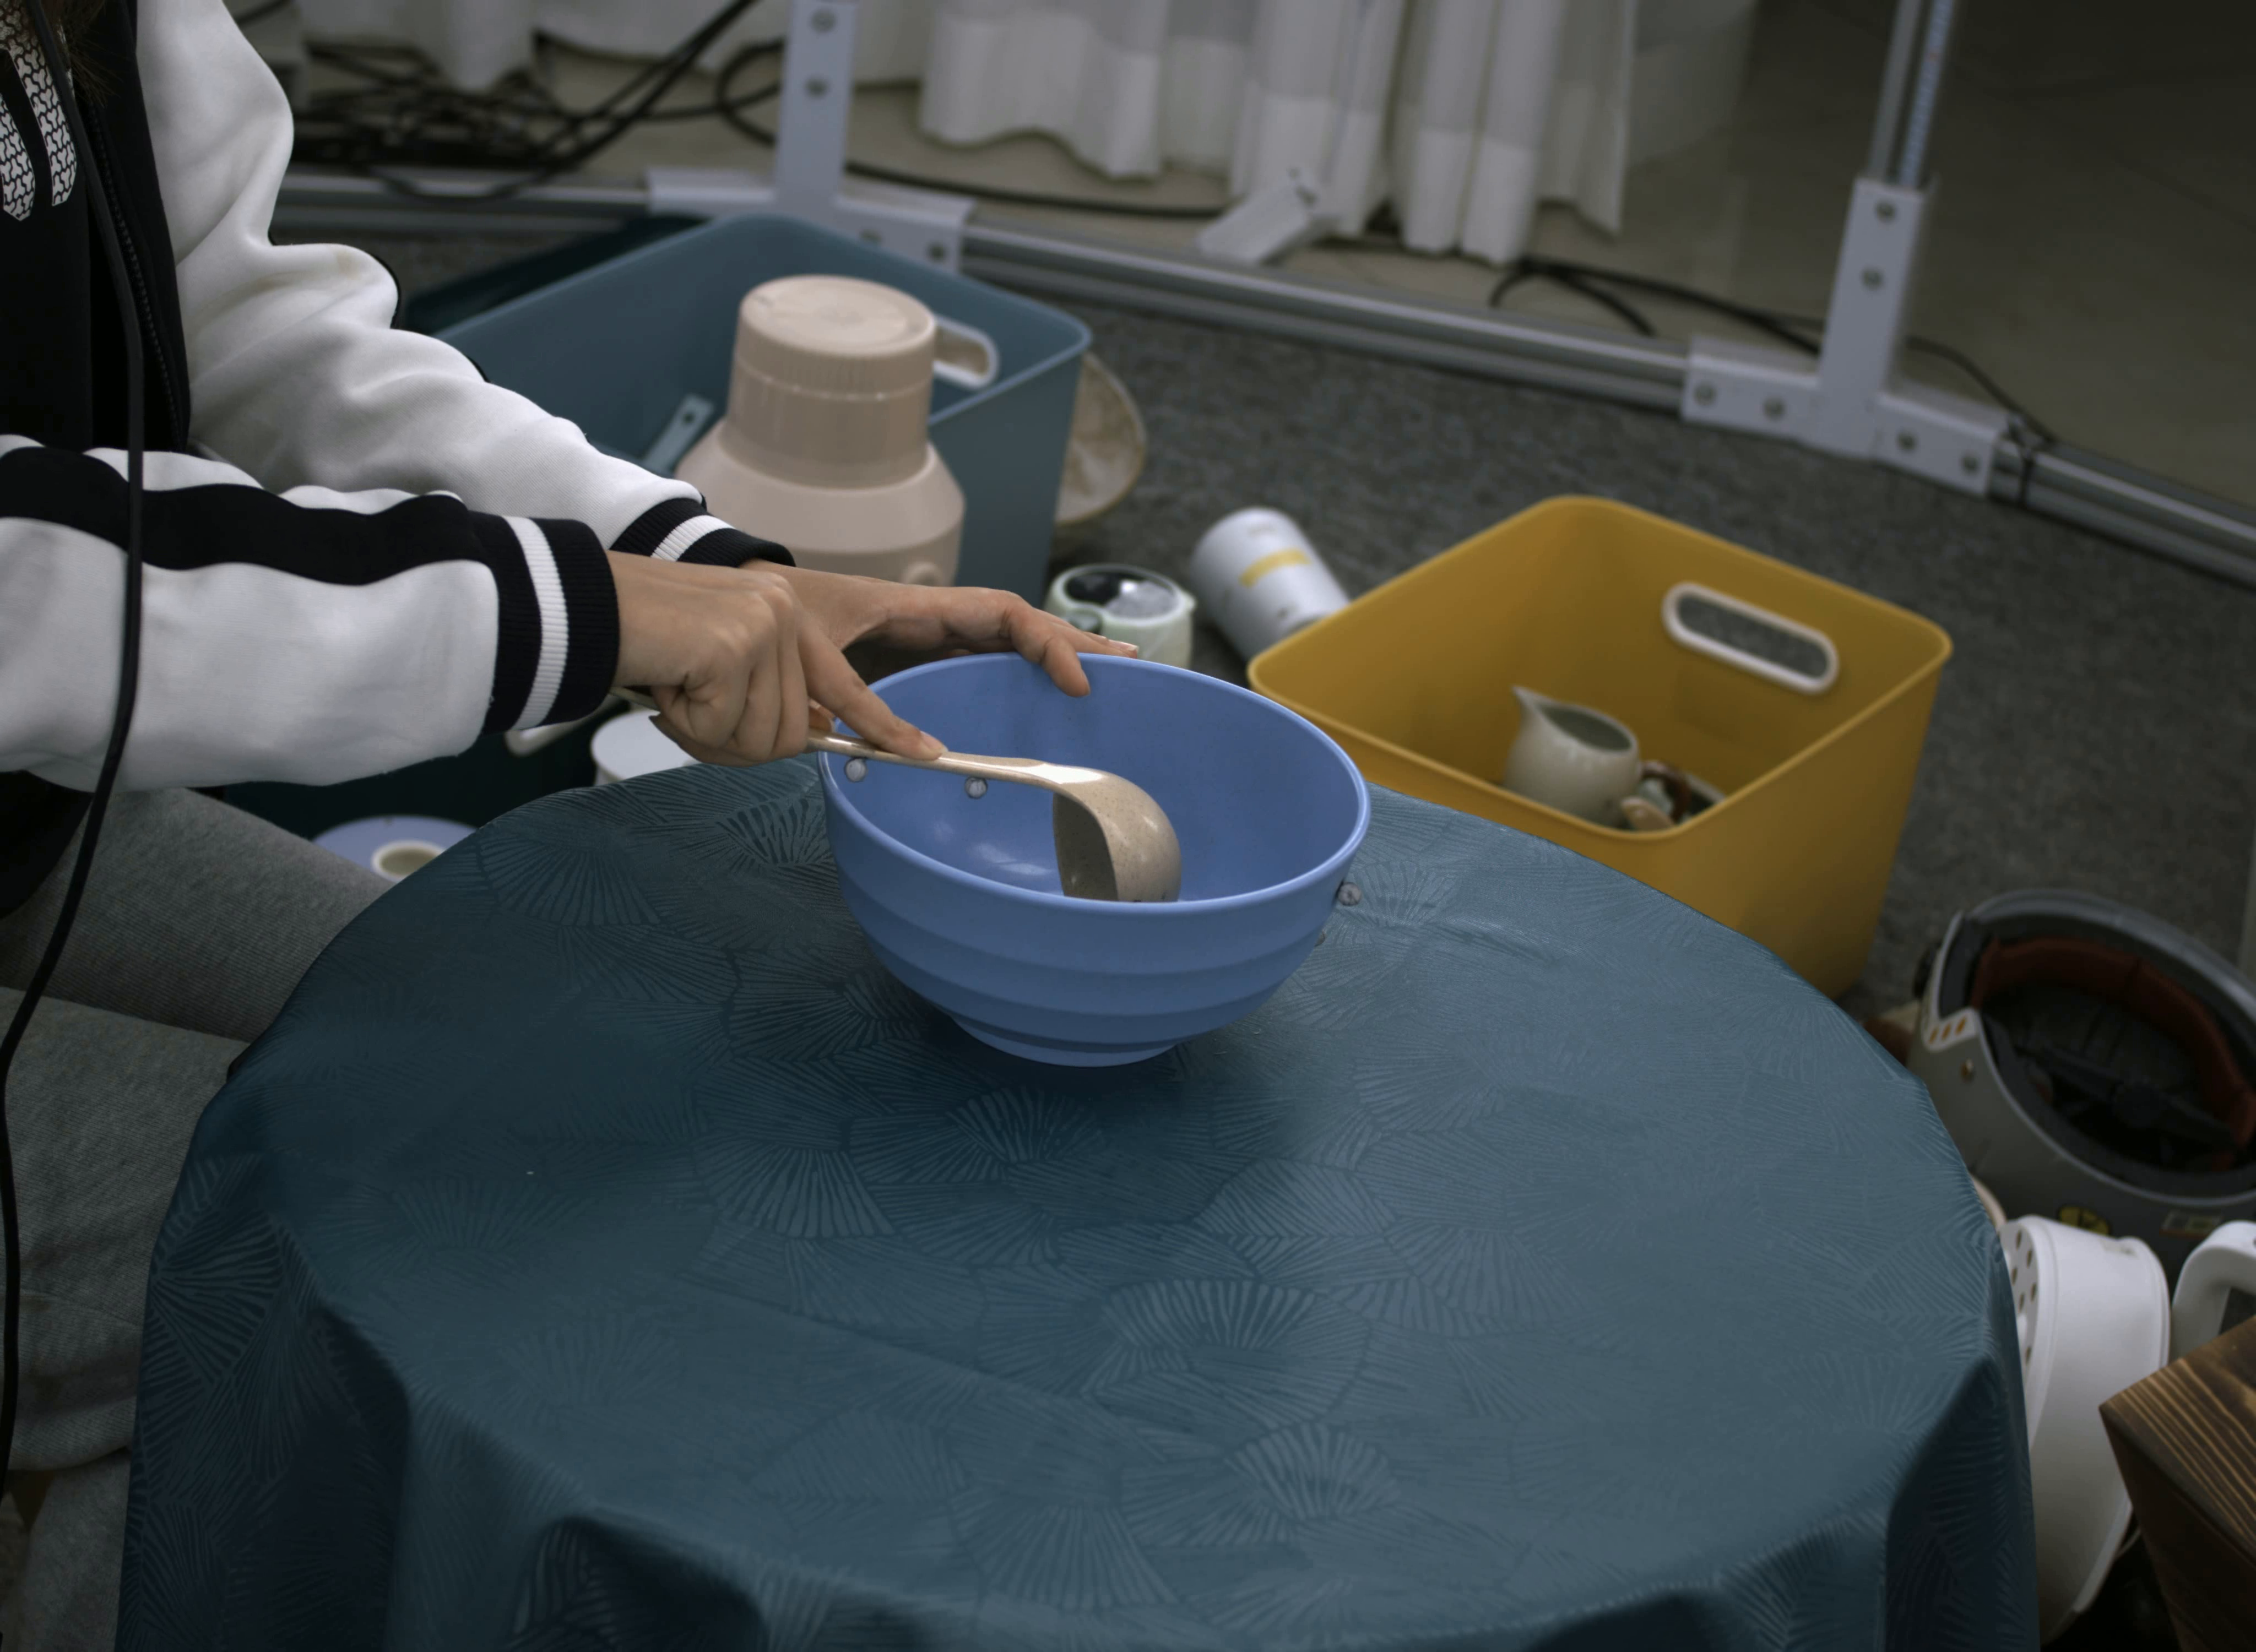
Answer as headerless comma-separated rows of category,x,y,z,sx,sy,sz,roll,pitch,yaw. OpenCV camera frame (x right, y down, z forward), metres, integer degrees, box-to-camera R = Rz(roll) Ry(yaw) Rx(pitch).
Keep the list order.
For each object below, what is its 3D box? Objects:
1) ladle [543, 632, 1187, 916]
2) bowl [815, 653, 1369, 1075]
ladle,-0.099,-0.005,1.862,0.252,0.073,0.073,14,21,-23
bowl,-0.017,0.025,1.895,0.196,0.095,0.198,4,28,-3
